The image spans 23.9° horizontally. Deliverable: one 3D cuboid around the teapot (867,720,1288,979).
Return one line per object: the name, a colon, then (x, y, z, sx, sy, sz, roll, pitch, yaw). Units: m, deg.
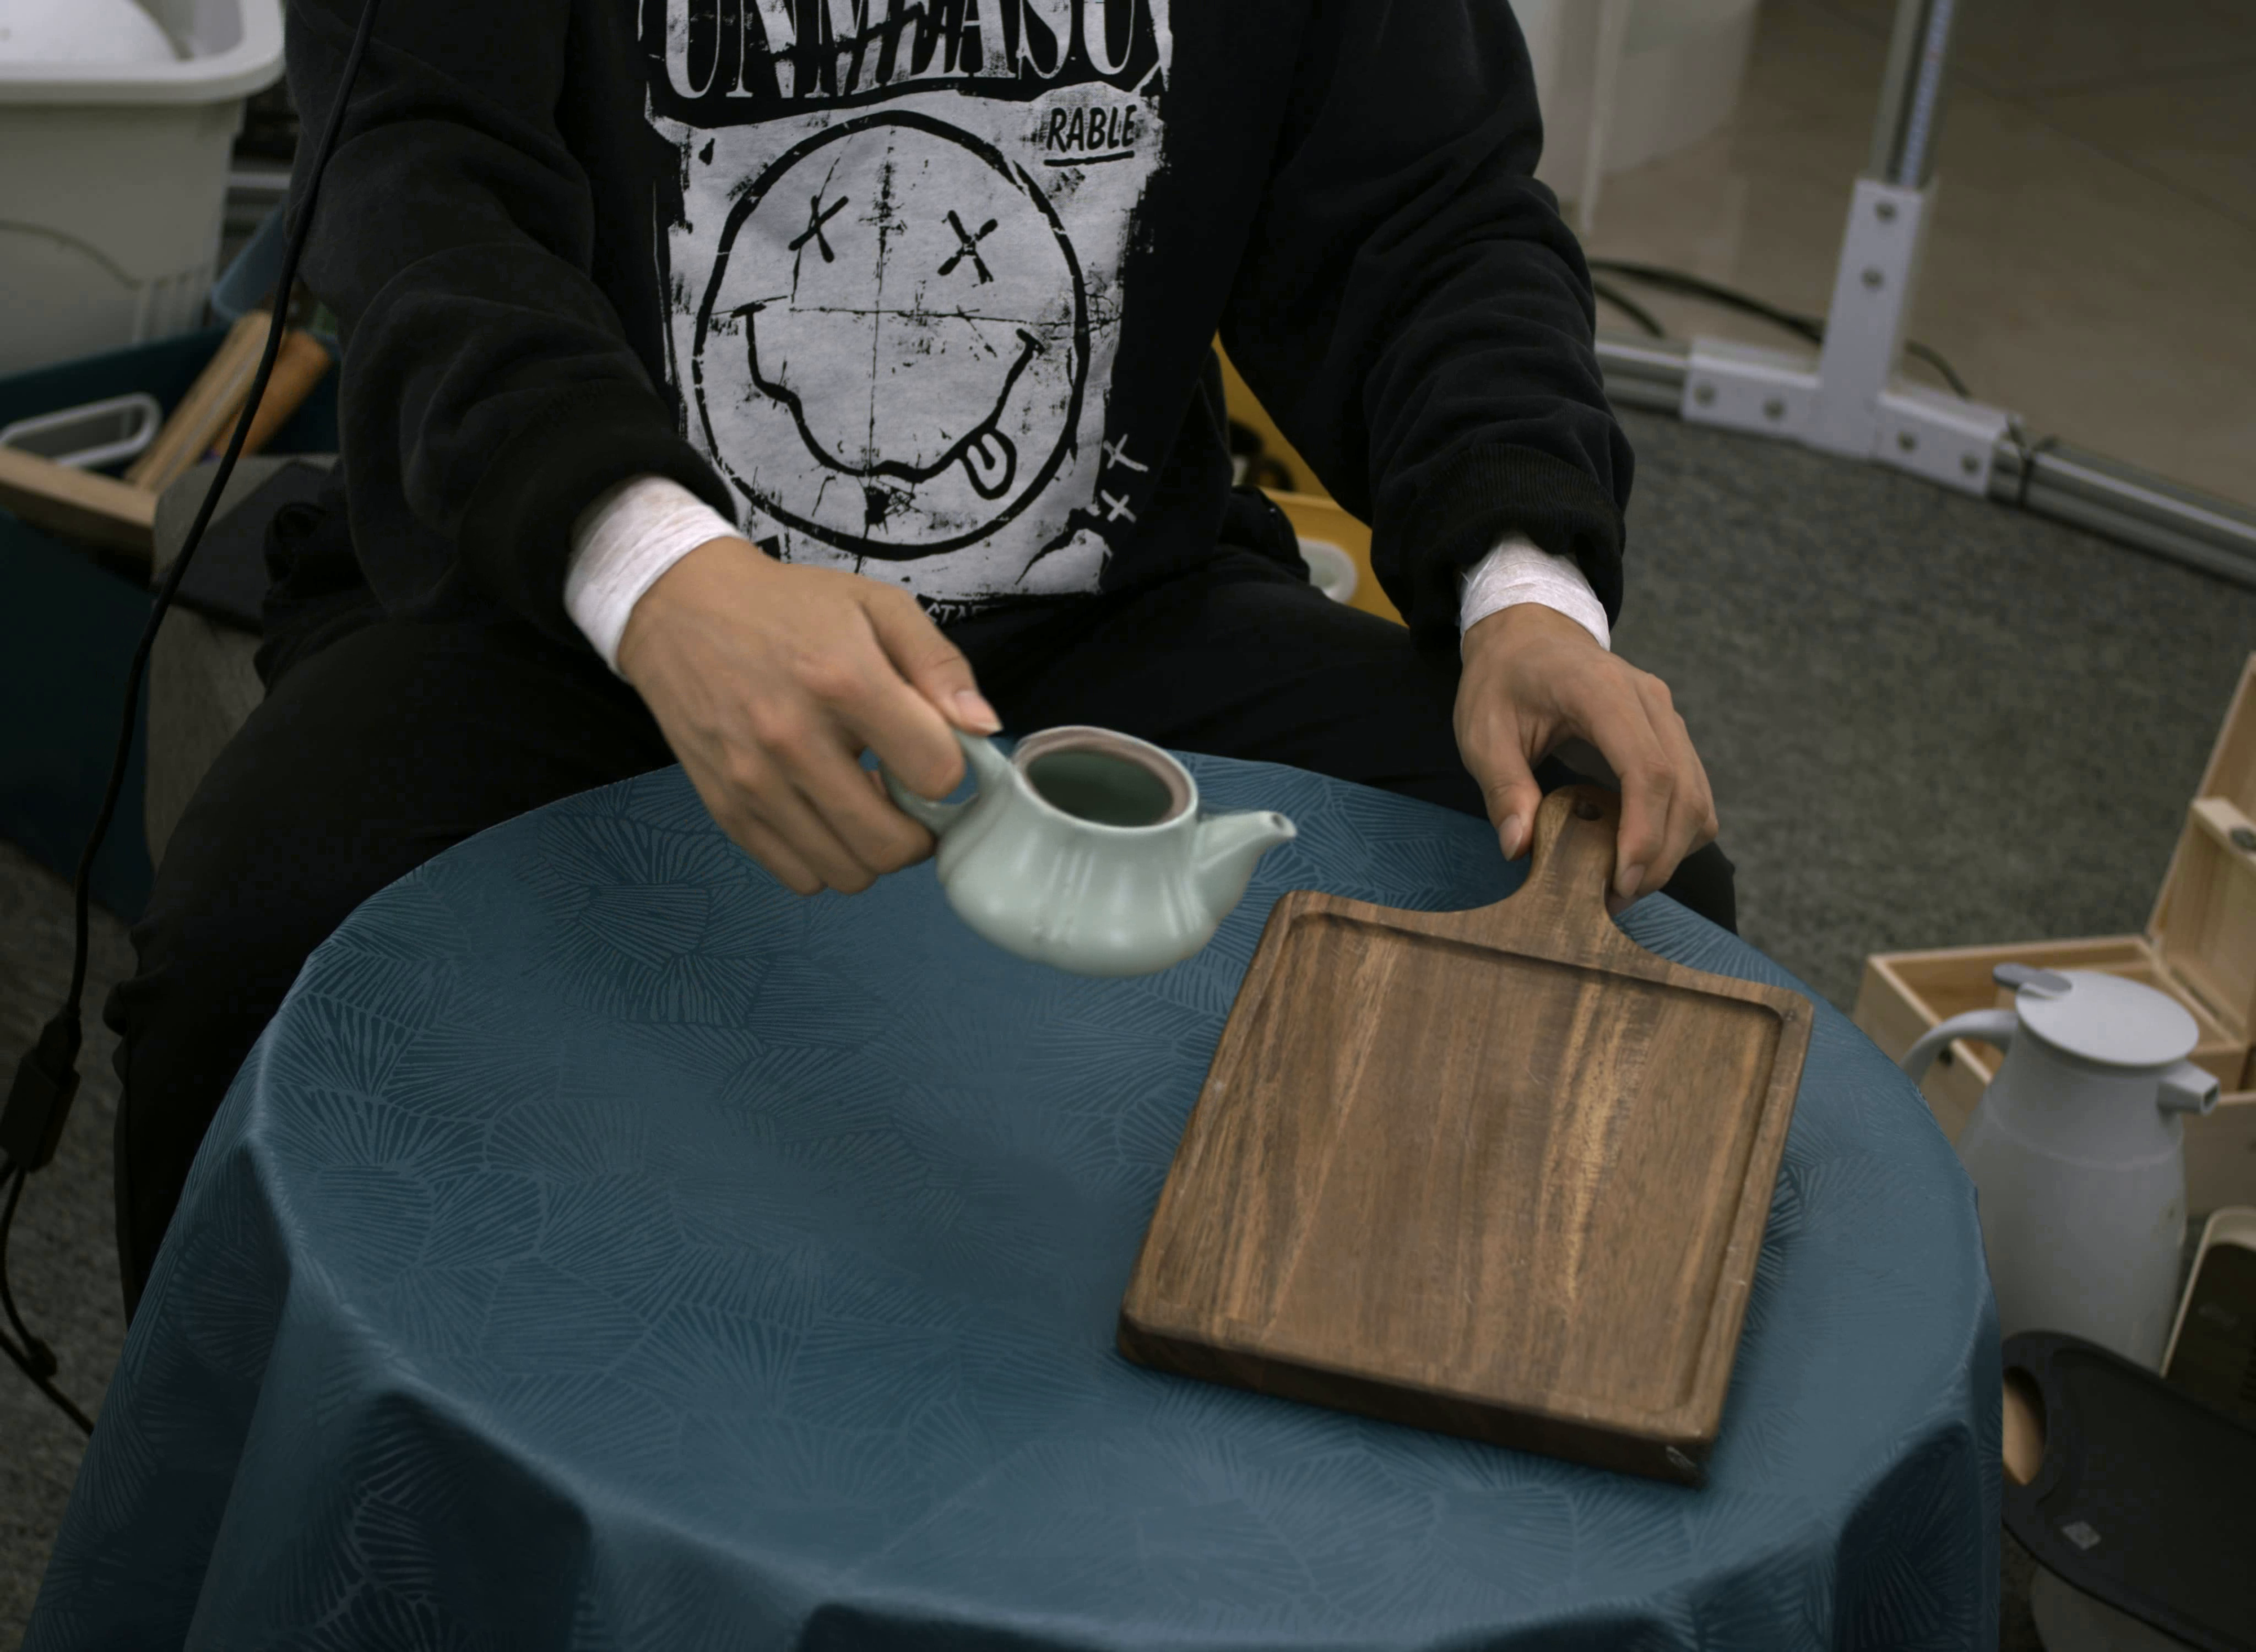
teapot: (-0.020, 0.005, 1.729, 0.136, 0.061, 0.096, 15, 33, 1)

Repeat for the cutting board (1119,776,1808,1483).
cutting board: (0.128, 0.088, 1.826, 0.201, 0.023, 0.354, 11, 36, 8)
